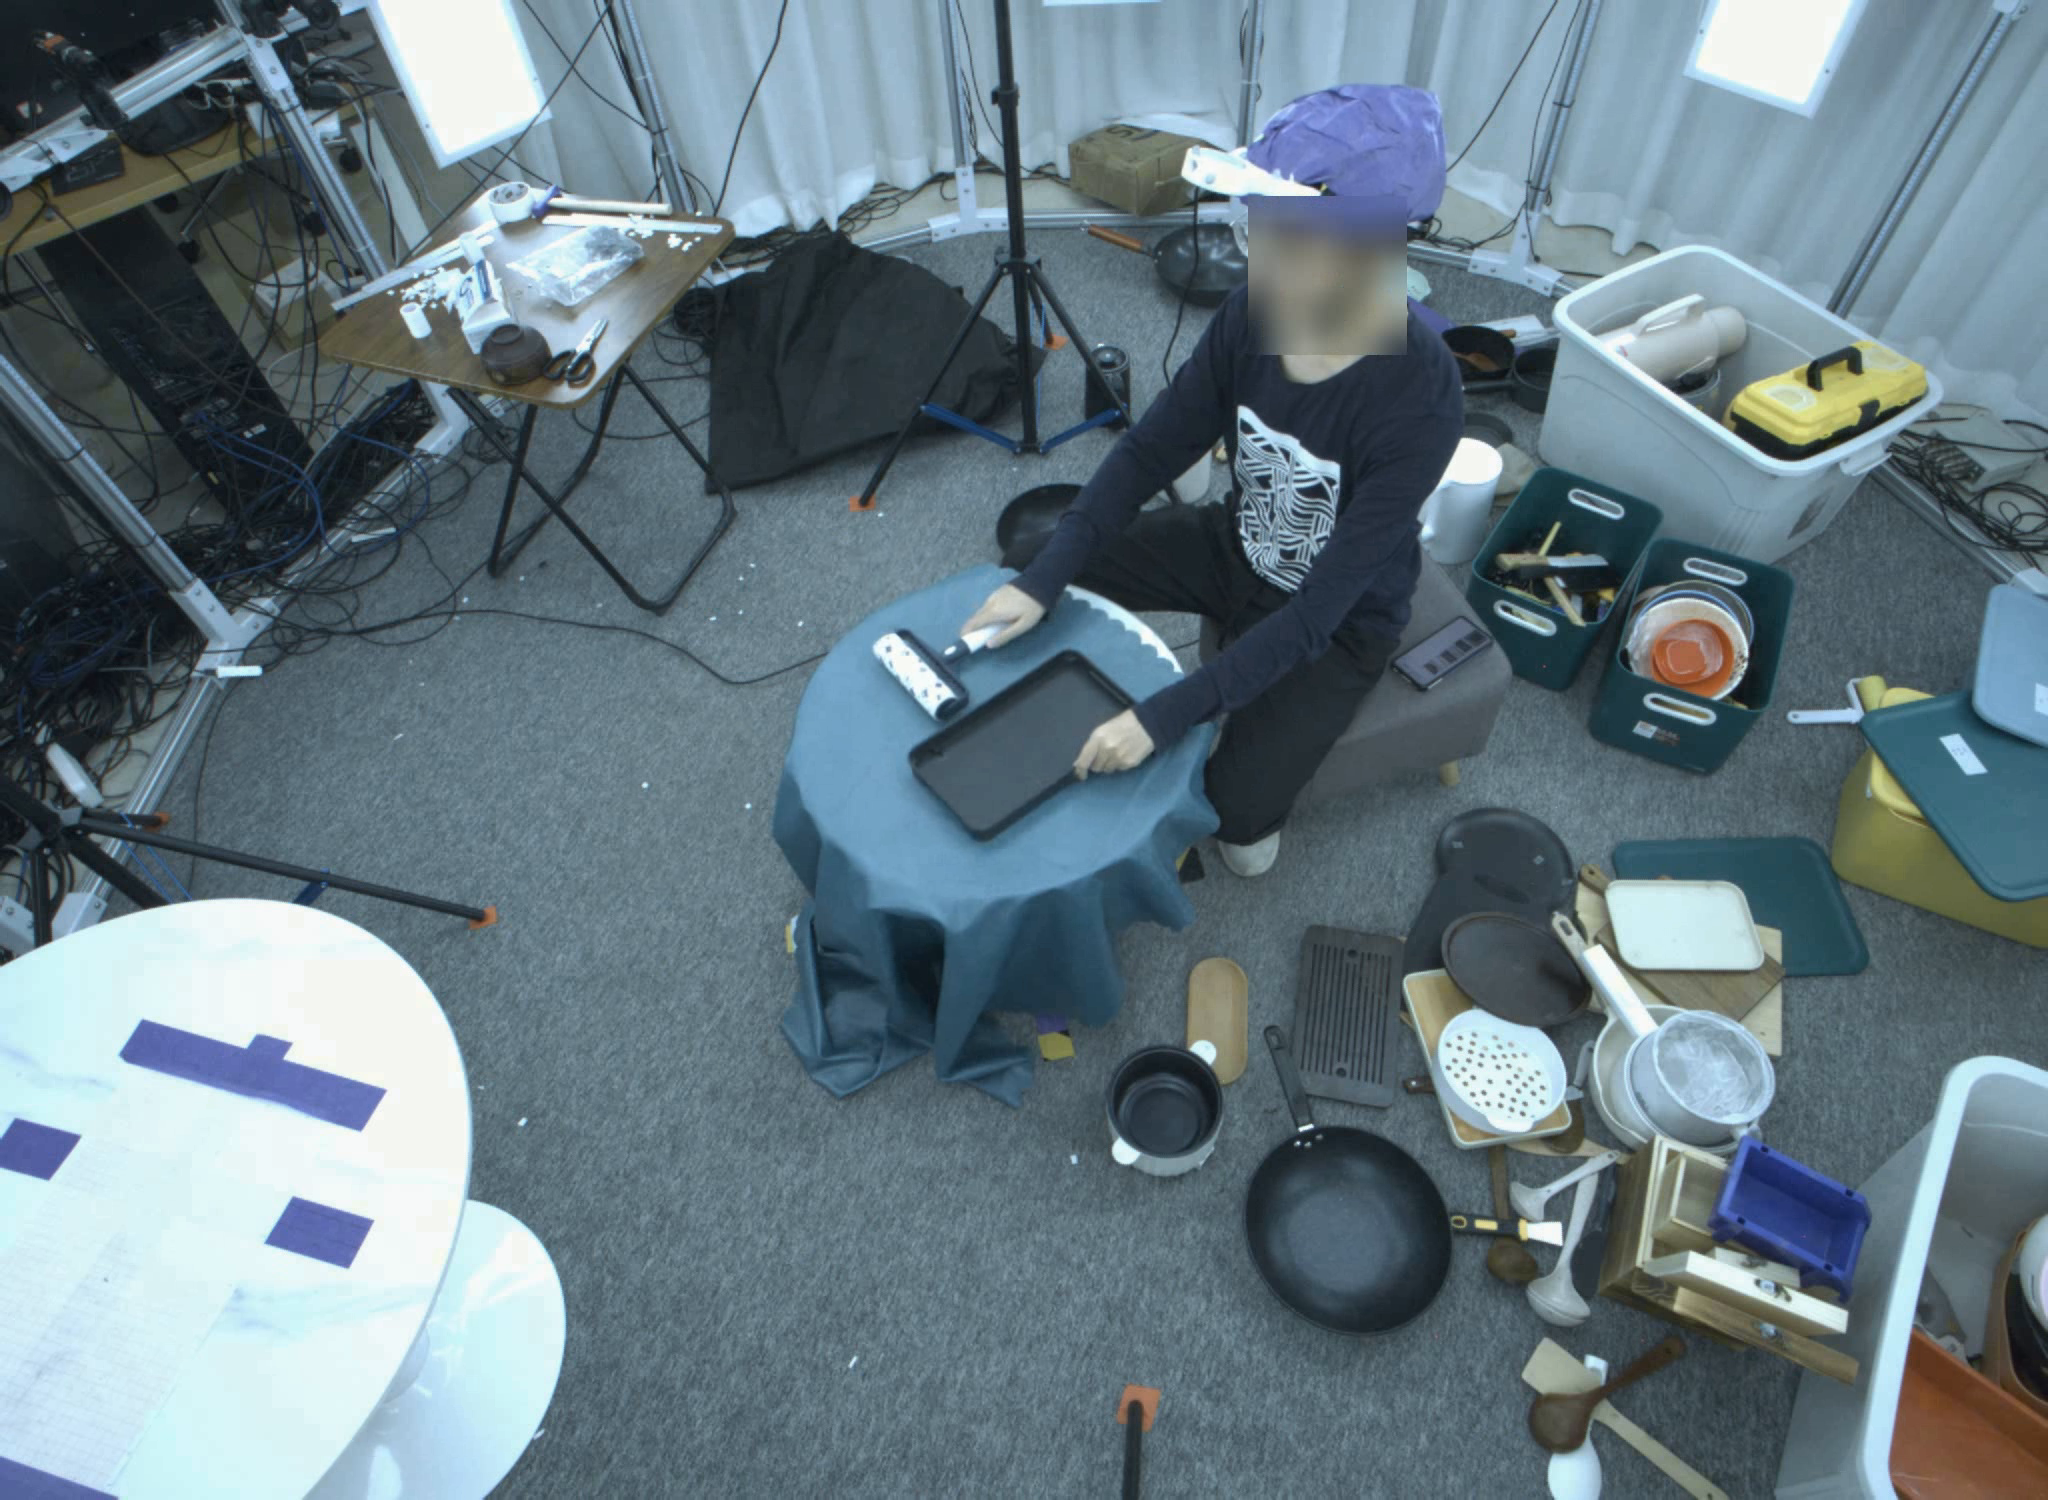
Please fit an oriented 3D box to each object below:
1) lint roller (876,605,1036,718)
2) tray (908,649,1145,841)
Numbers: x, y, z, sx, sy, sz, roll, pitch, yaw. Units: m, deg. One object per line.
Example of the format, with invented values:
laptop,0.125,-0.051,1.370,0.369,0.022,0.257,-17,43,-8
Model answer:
lint roller,-0.084,-0.166,1.884,0.249,0.051,0.173,-34,59,-20
tray,0.006,-0.013,1.781,0.320,0.037,0.181,-34,60,-21
